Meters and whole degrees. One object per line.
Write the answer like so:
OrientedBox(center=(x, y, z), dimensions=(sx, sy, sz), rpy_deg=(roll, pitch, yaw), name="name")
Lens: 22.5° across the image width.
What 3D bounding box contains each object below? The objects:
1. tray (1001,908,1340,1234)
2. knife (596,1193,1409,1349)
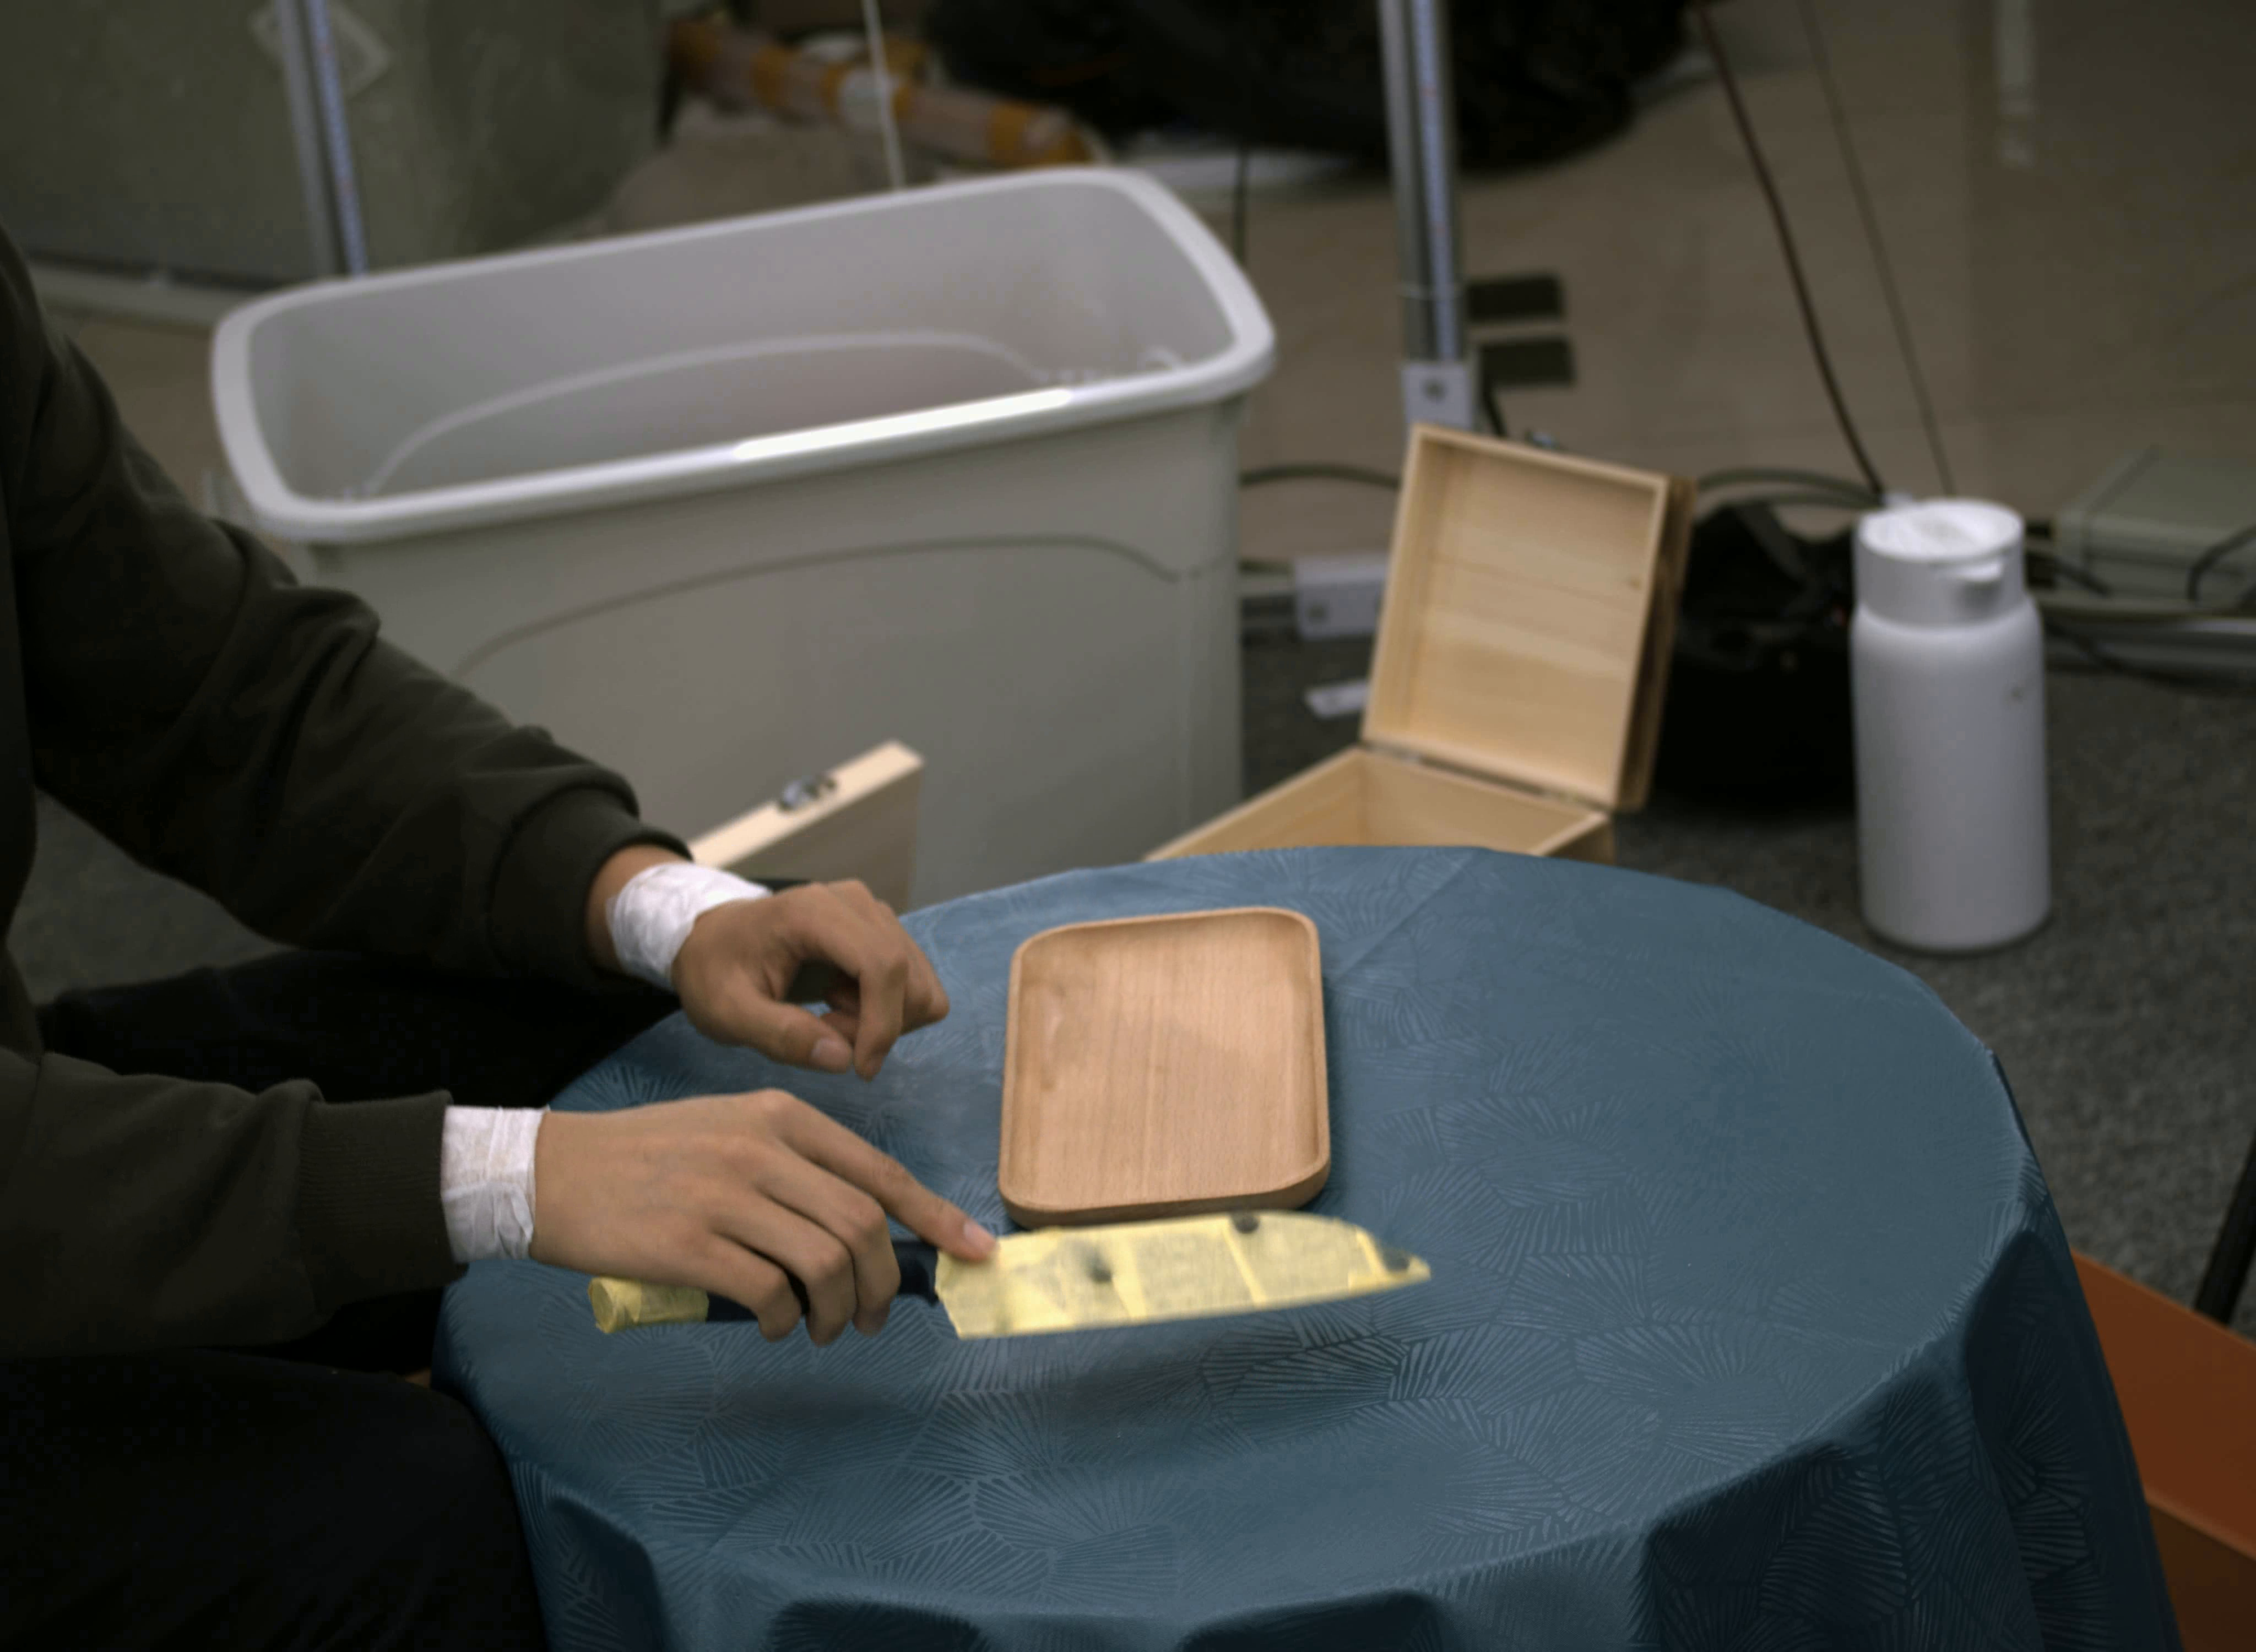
OrientedBox(center=(0.017, 0.094, 2.224), dimensions=(0.130, 0.023, 0.247), rpy_deg=(-8, 25, 4), name="tray")
OrientedBox(center=(-0.043, 0.158, 1.999), dimensions=(0.289, 0.027, 0.080), rpy_deg=(-7, 20, -6), name="knife")
